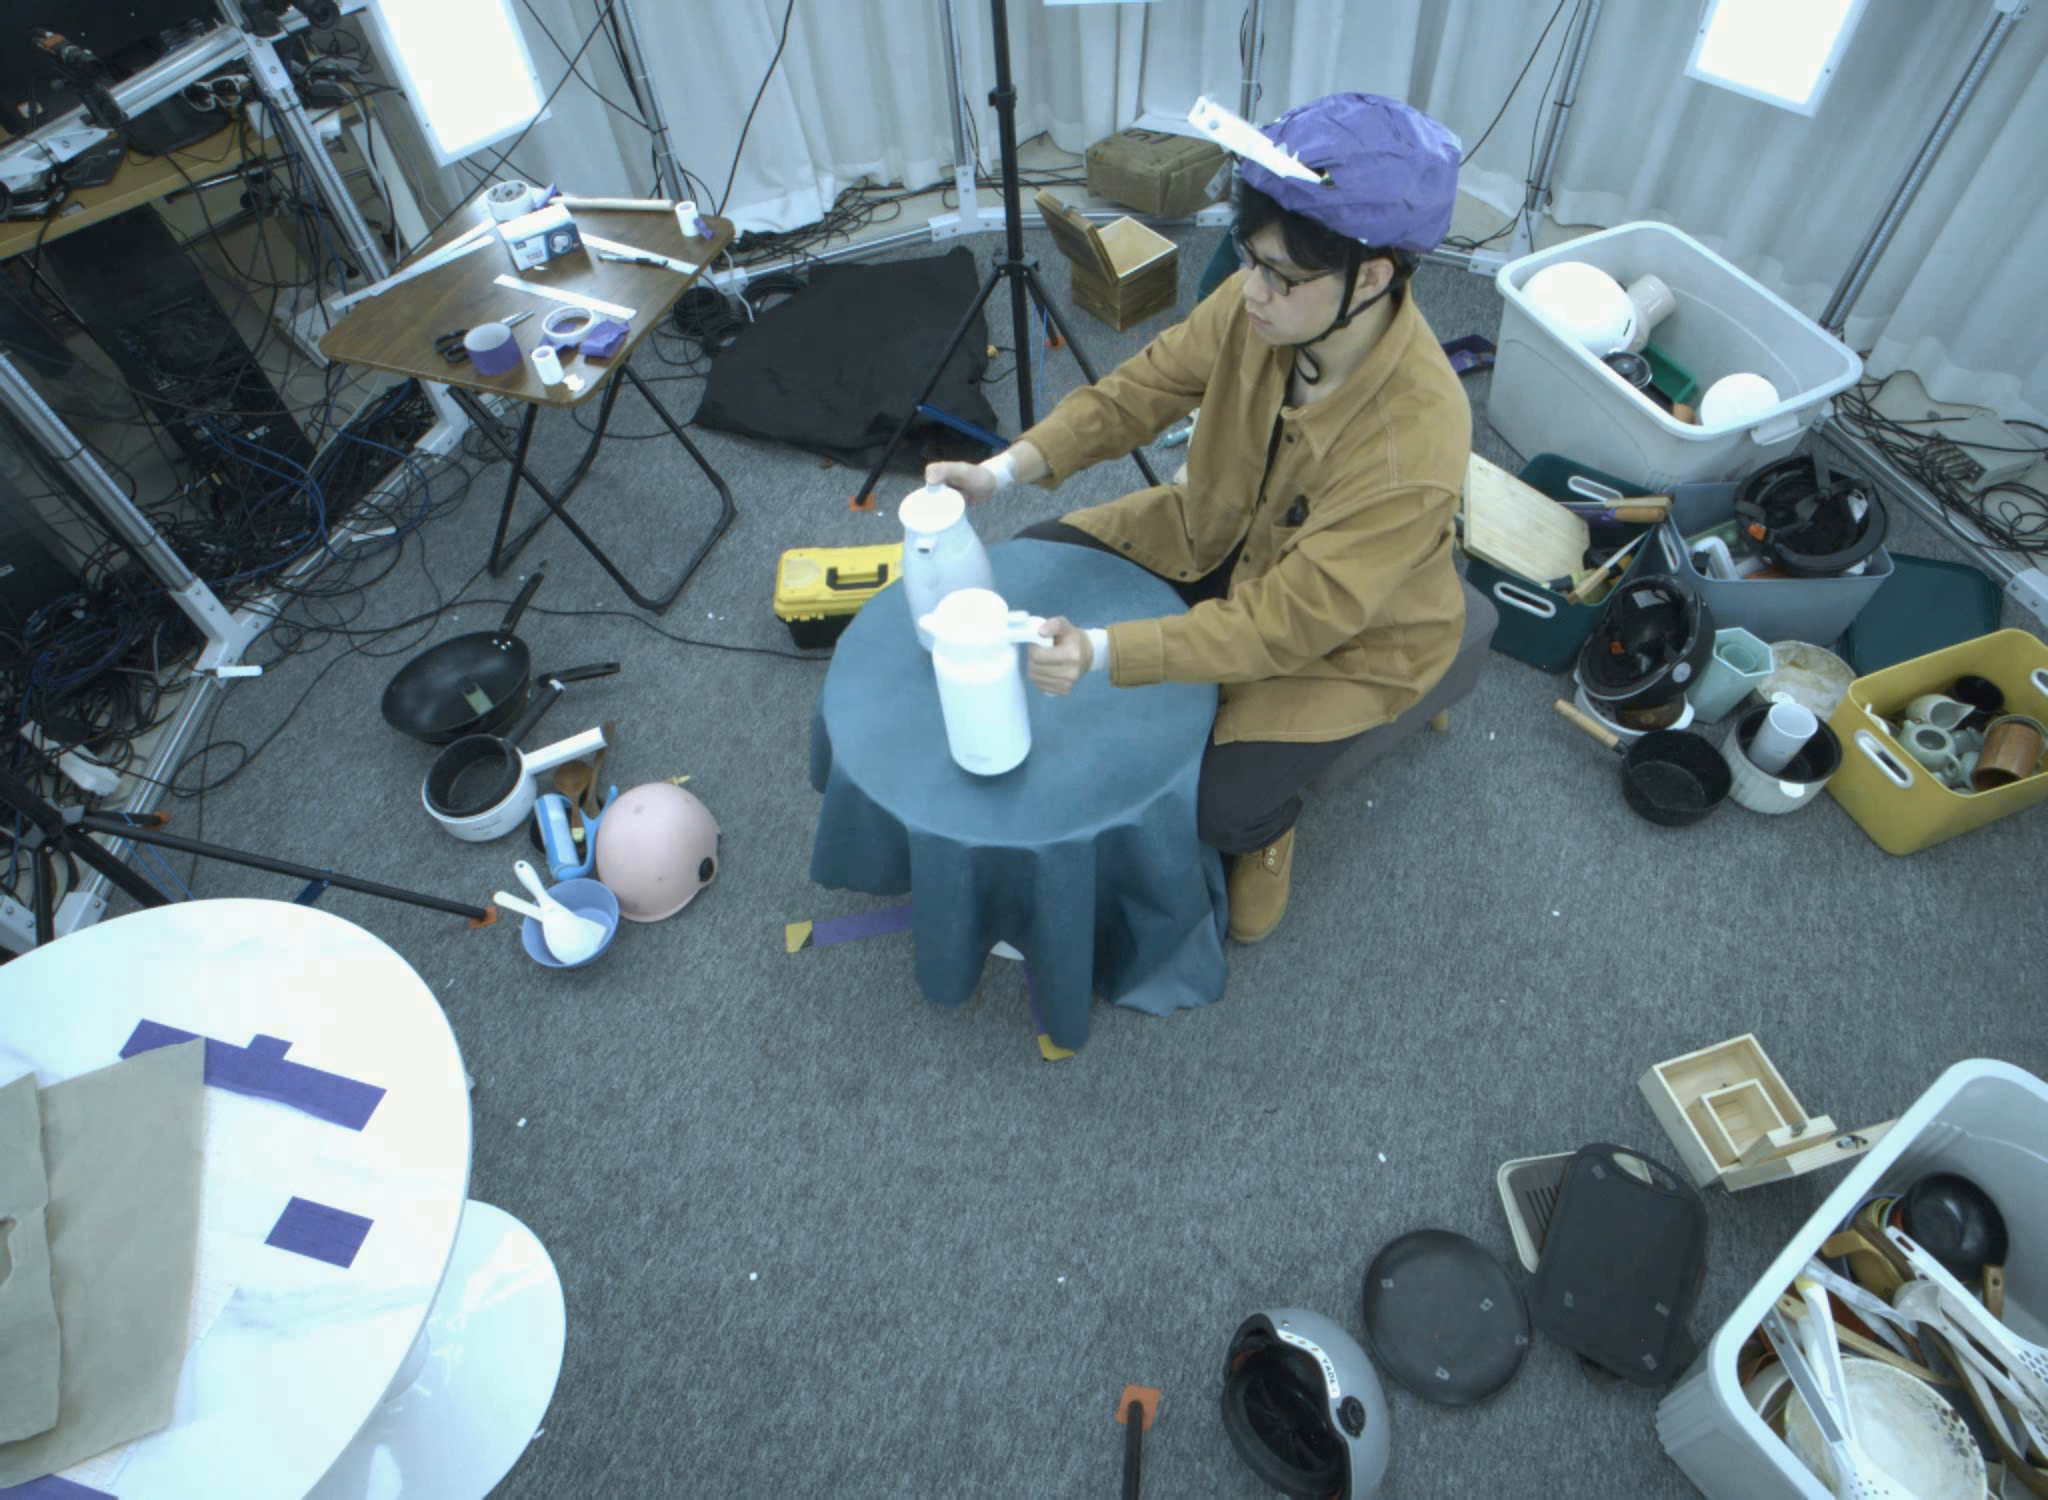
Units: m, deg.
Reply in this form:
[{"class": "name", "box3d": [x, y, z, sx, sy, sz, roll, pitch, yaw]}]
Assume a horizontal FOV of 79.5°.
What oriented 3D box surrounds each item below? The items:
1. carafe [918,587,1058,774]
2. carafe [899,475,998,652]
[{"class": "carafe", "box3d": [-0.041, -0.091, 1.656, 0.172, 0.272, 0.122, -1, 50, 4]}, {"class": "carafe", "box3d": [-0.112, -0.279, 1.764, 0.131, 0.252, 0.166, 4, 54, 10]}]
